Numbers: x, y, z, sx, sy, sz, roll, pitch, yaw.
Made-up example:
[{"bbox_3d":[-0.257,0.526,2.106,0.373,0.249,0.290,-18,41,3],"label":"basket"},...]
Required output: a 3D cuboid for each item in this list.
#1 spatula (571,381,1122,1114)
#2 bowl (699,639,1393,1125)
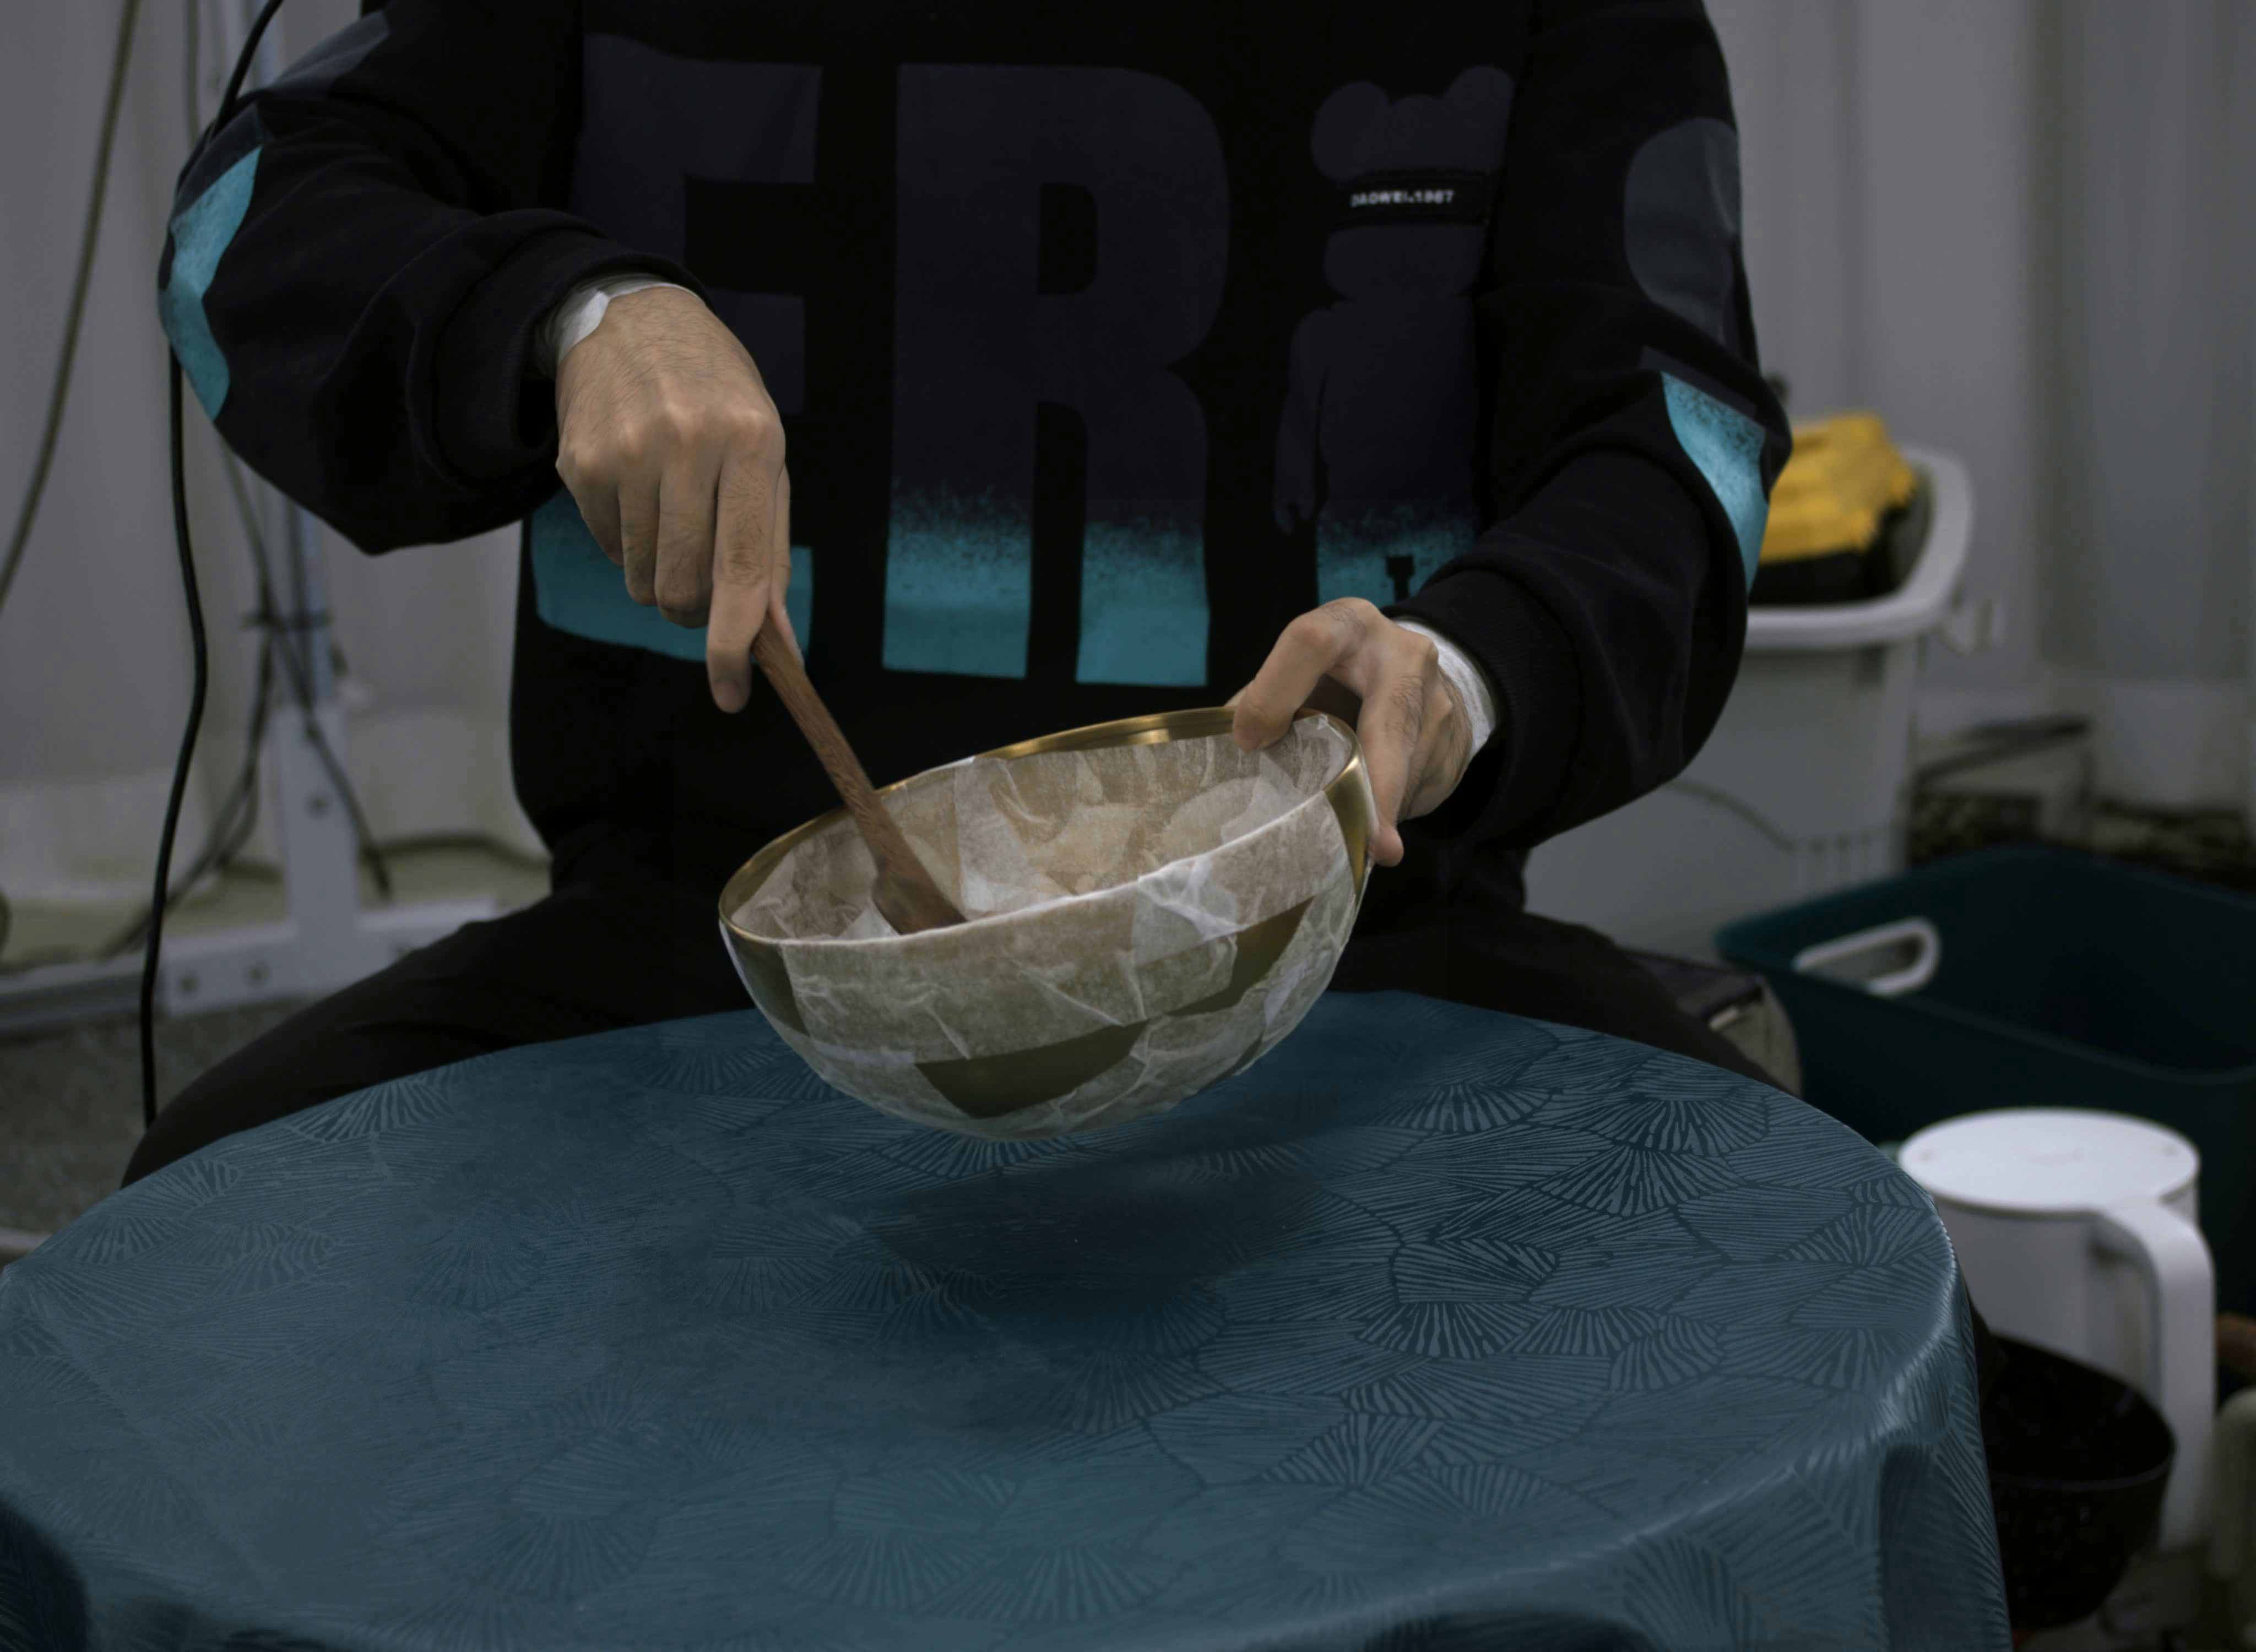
[{"bbox_3d":[-0.103,-0.038,1.733,0.016,0.095,0.391,-42,44,6],"label":"spatula"},{"bbox_3d":[-0.016,0.028,1.647,0.214,0.094,0.217,-14,23,6],"label":"bowl"}]
